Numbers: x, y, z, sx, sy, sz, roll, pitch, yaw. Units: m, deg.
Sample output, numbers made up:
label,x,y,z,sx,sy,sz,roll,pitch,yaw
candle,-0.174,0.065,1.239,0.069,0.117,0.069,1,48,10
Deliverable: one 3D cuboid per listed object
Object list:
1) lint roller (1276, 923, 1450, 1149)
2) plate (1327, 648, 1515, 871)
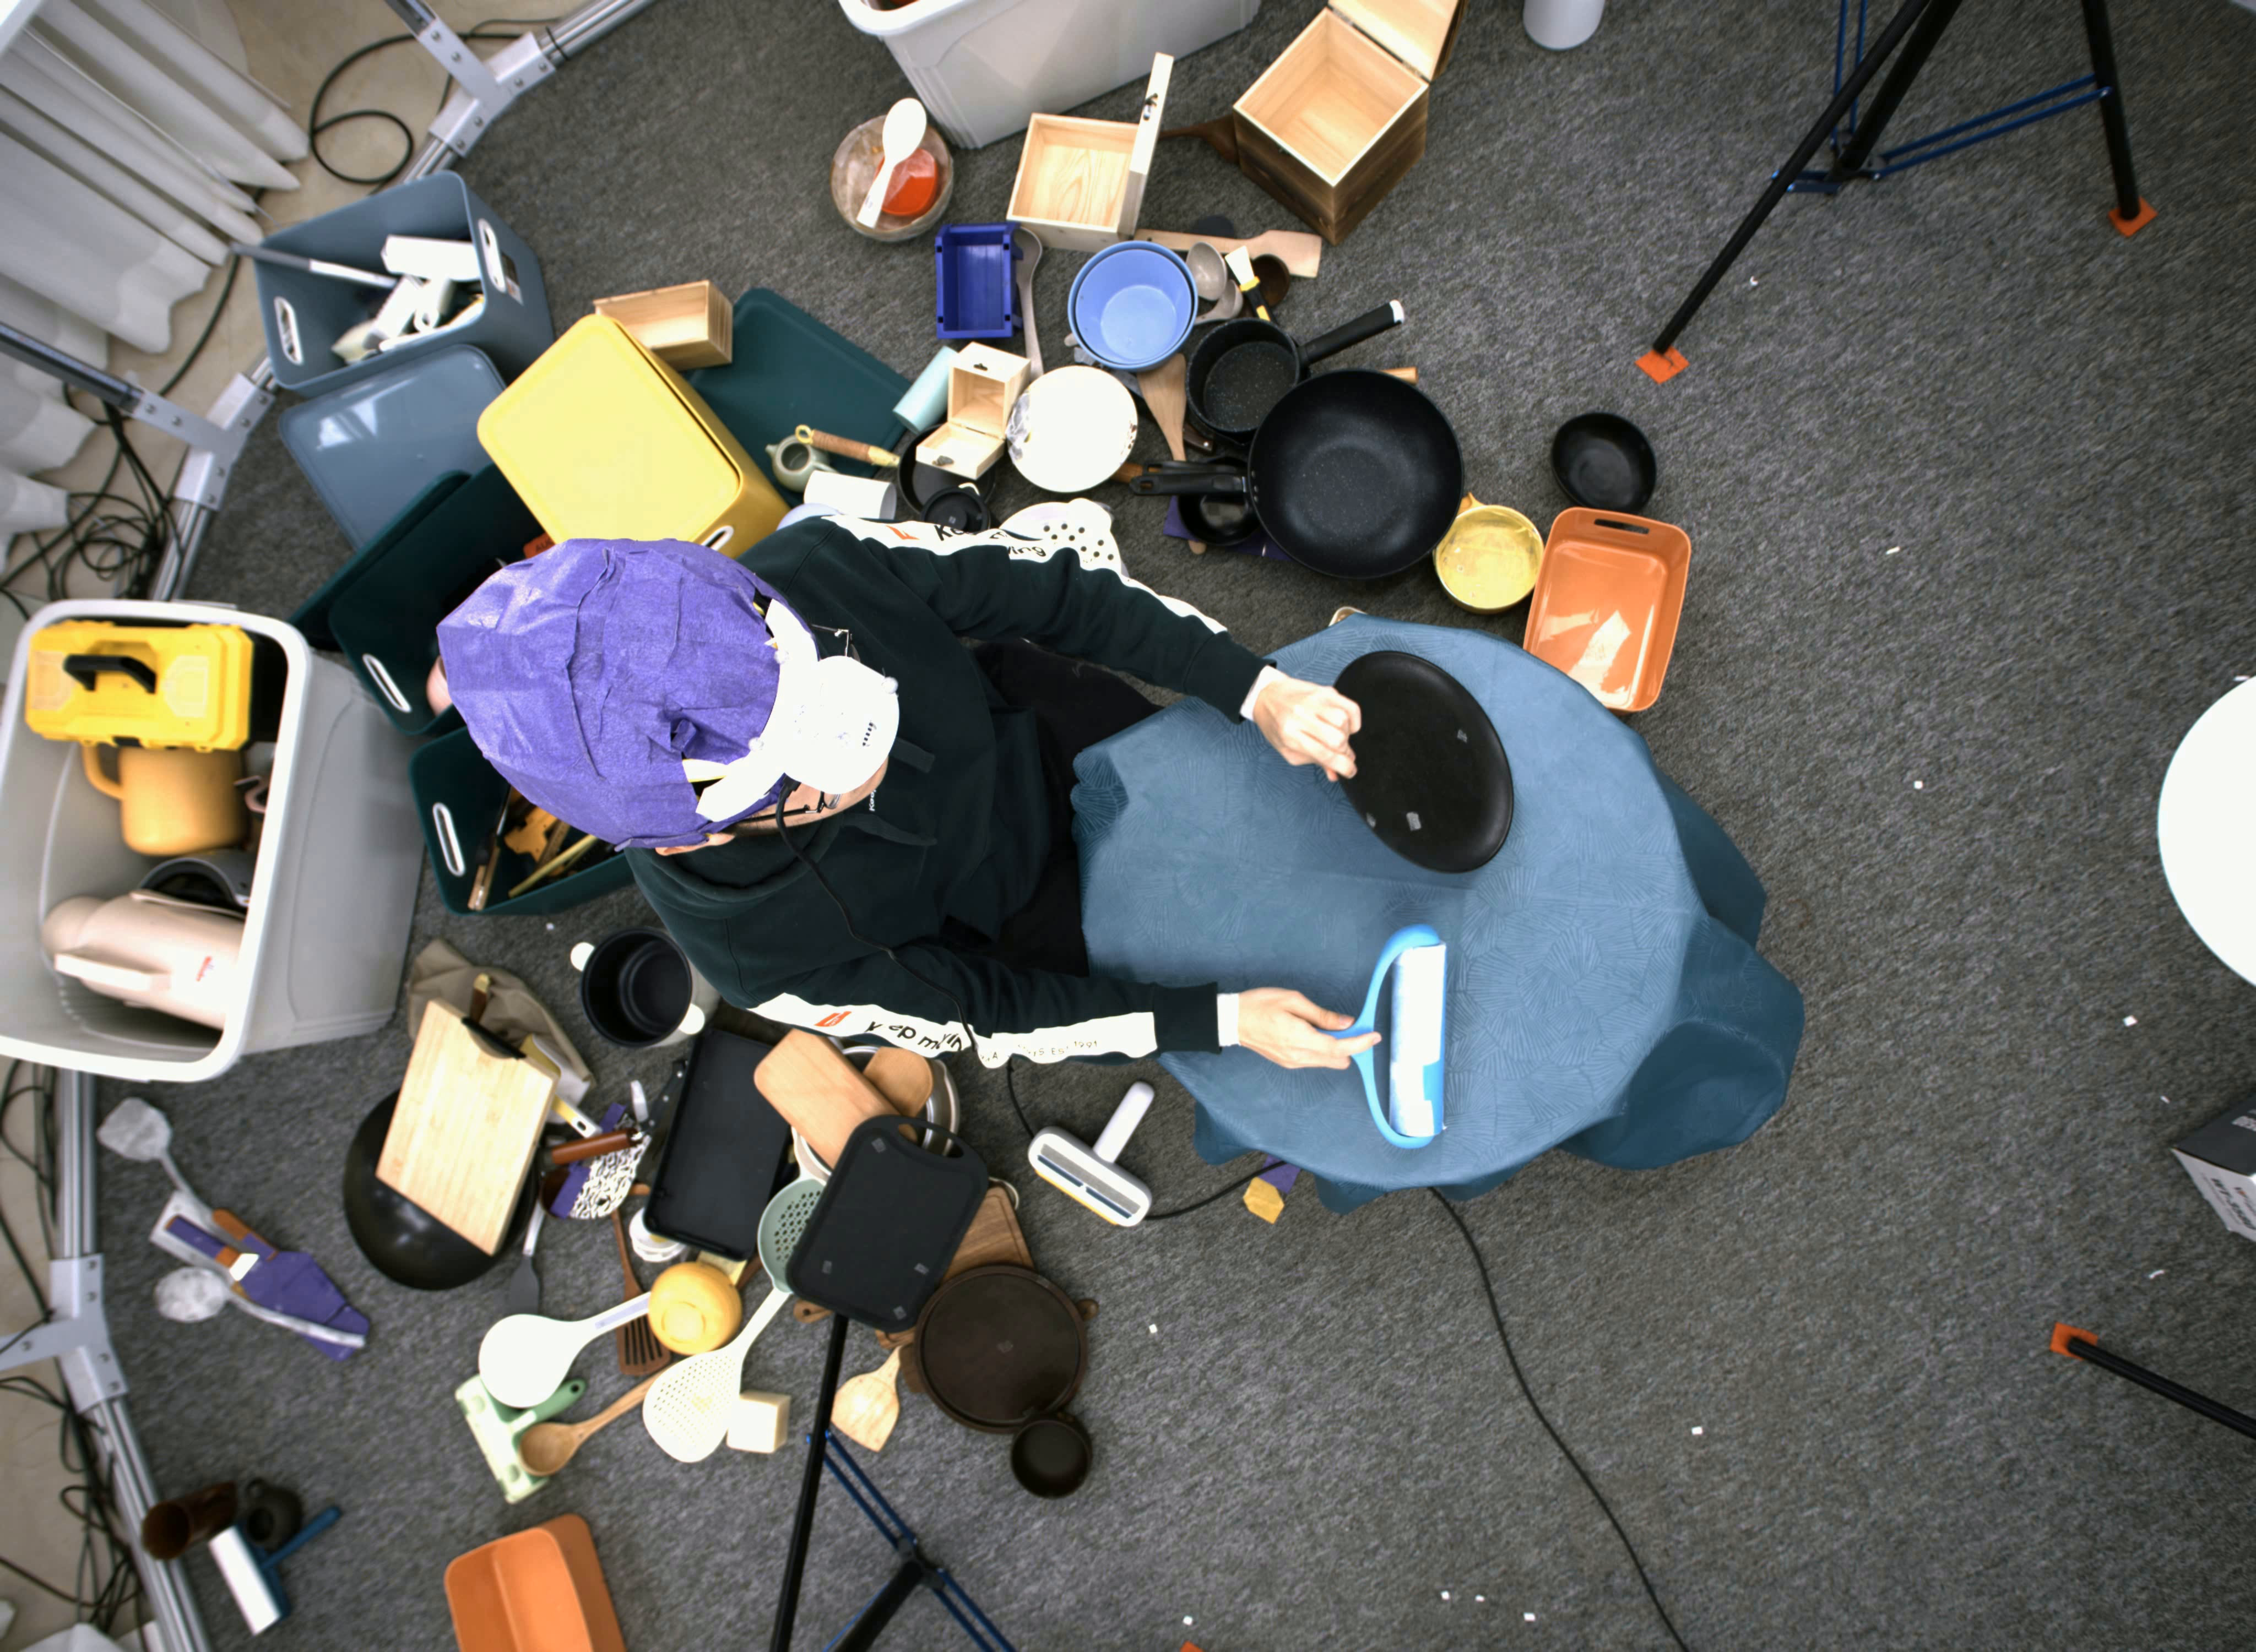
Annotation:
label,x,y,z,sx,sy,sz,roll,pitch,yaw
lint roller,0.237,0.212,1.397,0.181,0.067,0.230,-2,98,12
plate,0.291,-0.067,1.378,0.244,0.024,0.239,13,64,-28
